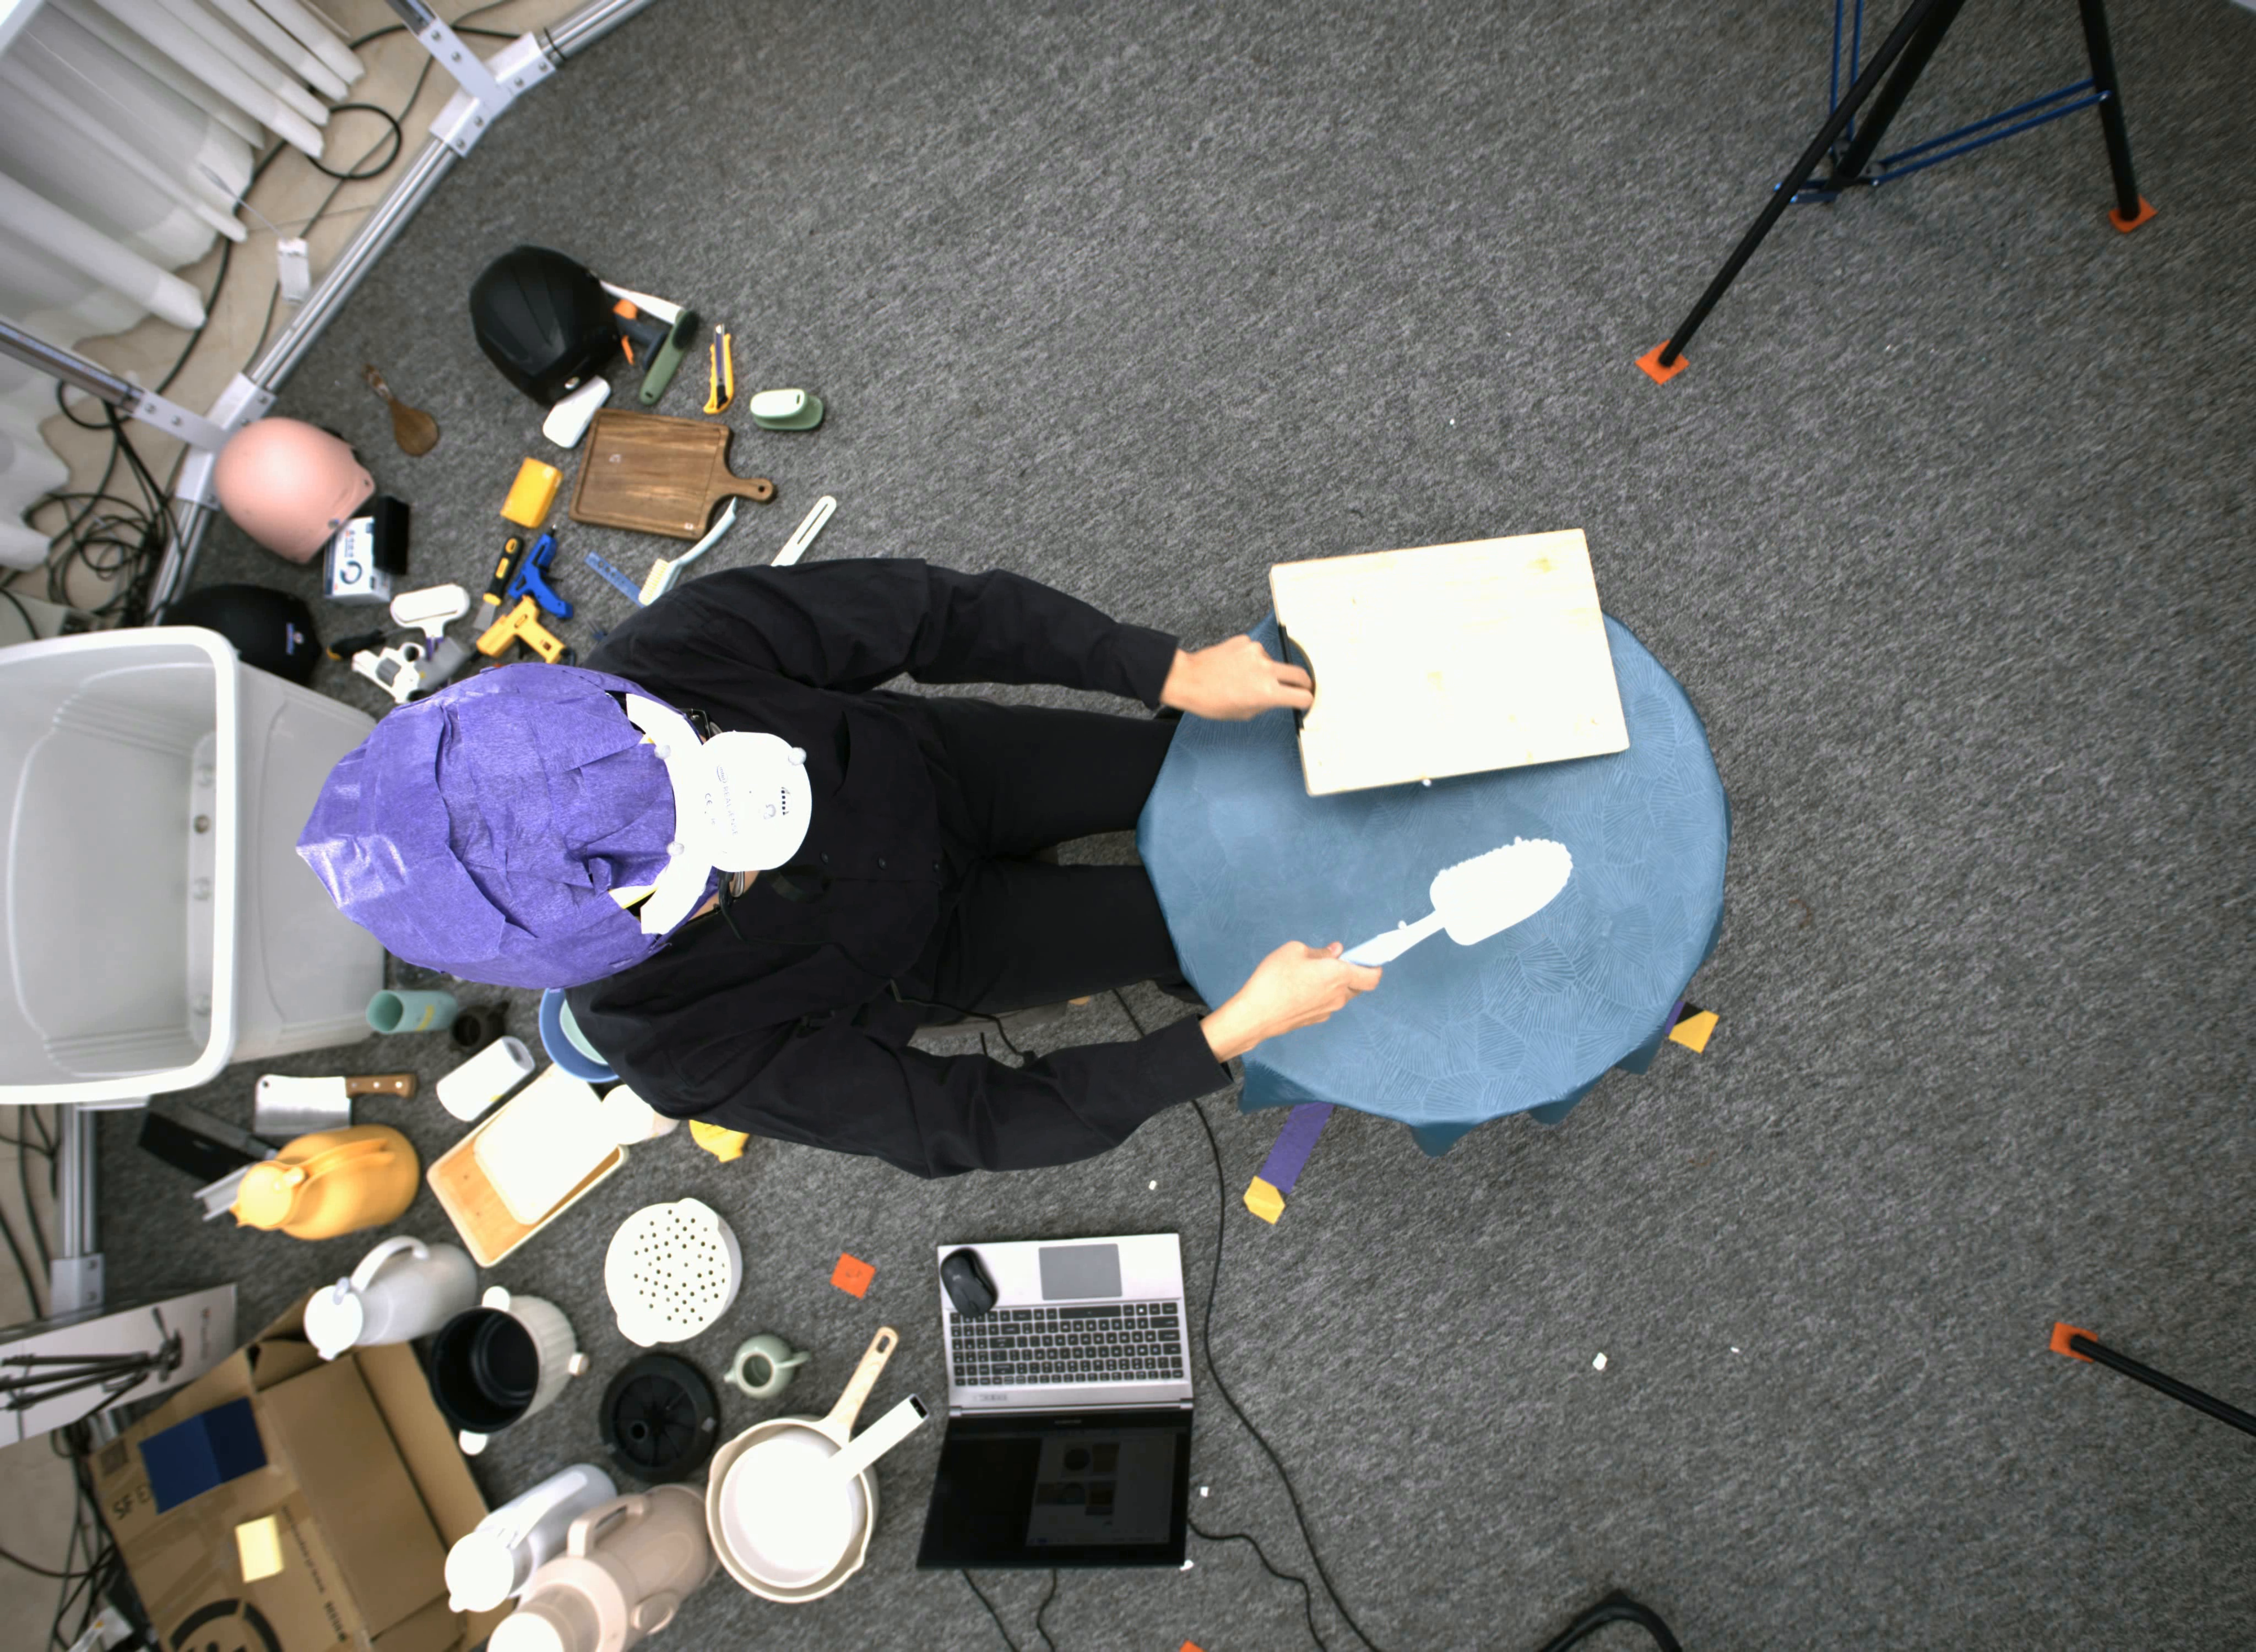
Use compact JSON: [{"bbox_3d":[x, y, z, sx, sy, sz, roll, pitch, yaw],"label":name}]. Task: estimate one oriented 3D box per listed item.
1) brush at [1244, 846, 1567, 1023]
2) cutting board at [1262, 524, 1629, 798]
[{"bbox_3d":[0.256,0.099,1.296,0.328,0.086,0.081,-27,50,11],"label":"brush"},{"bbox_3d":[0.330,-0.175,1.411,0.348,0.024,0.249,-11,84,-5],"label":"cutting board"}]
